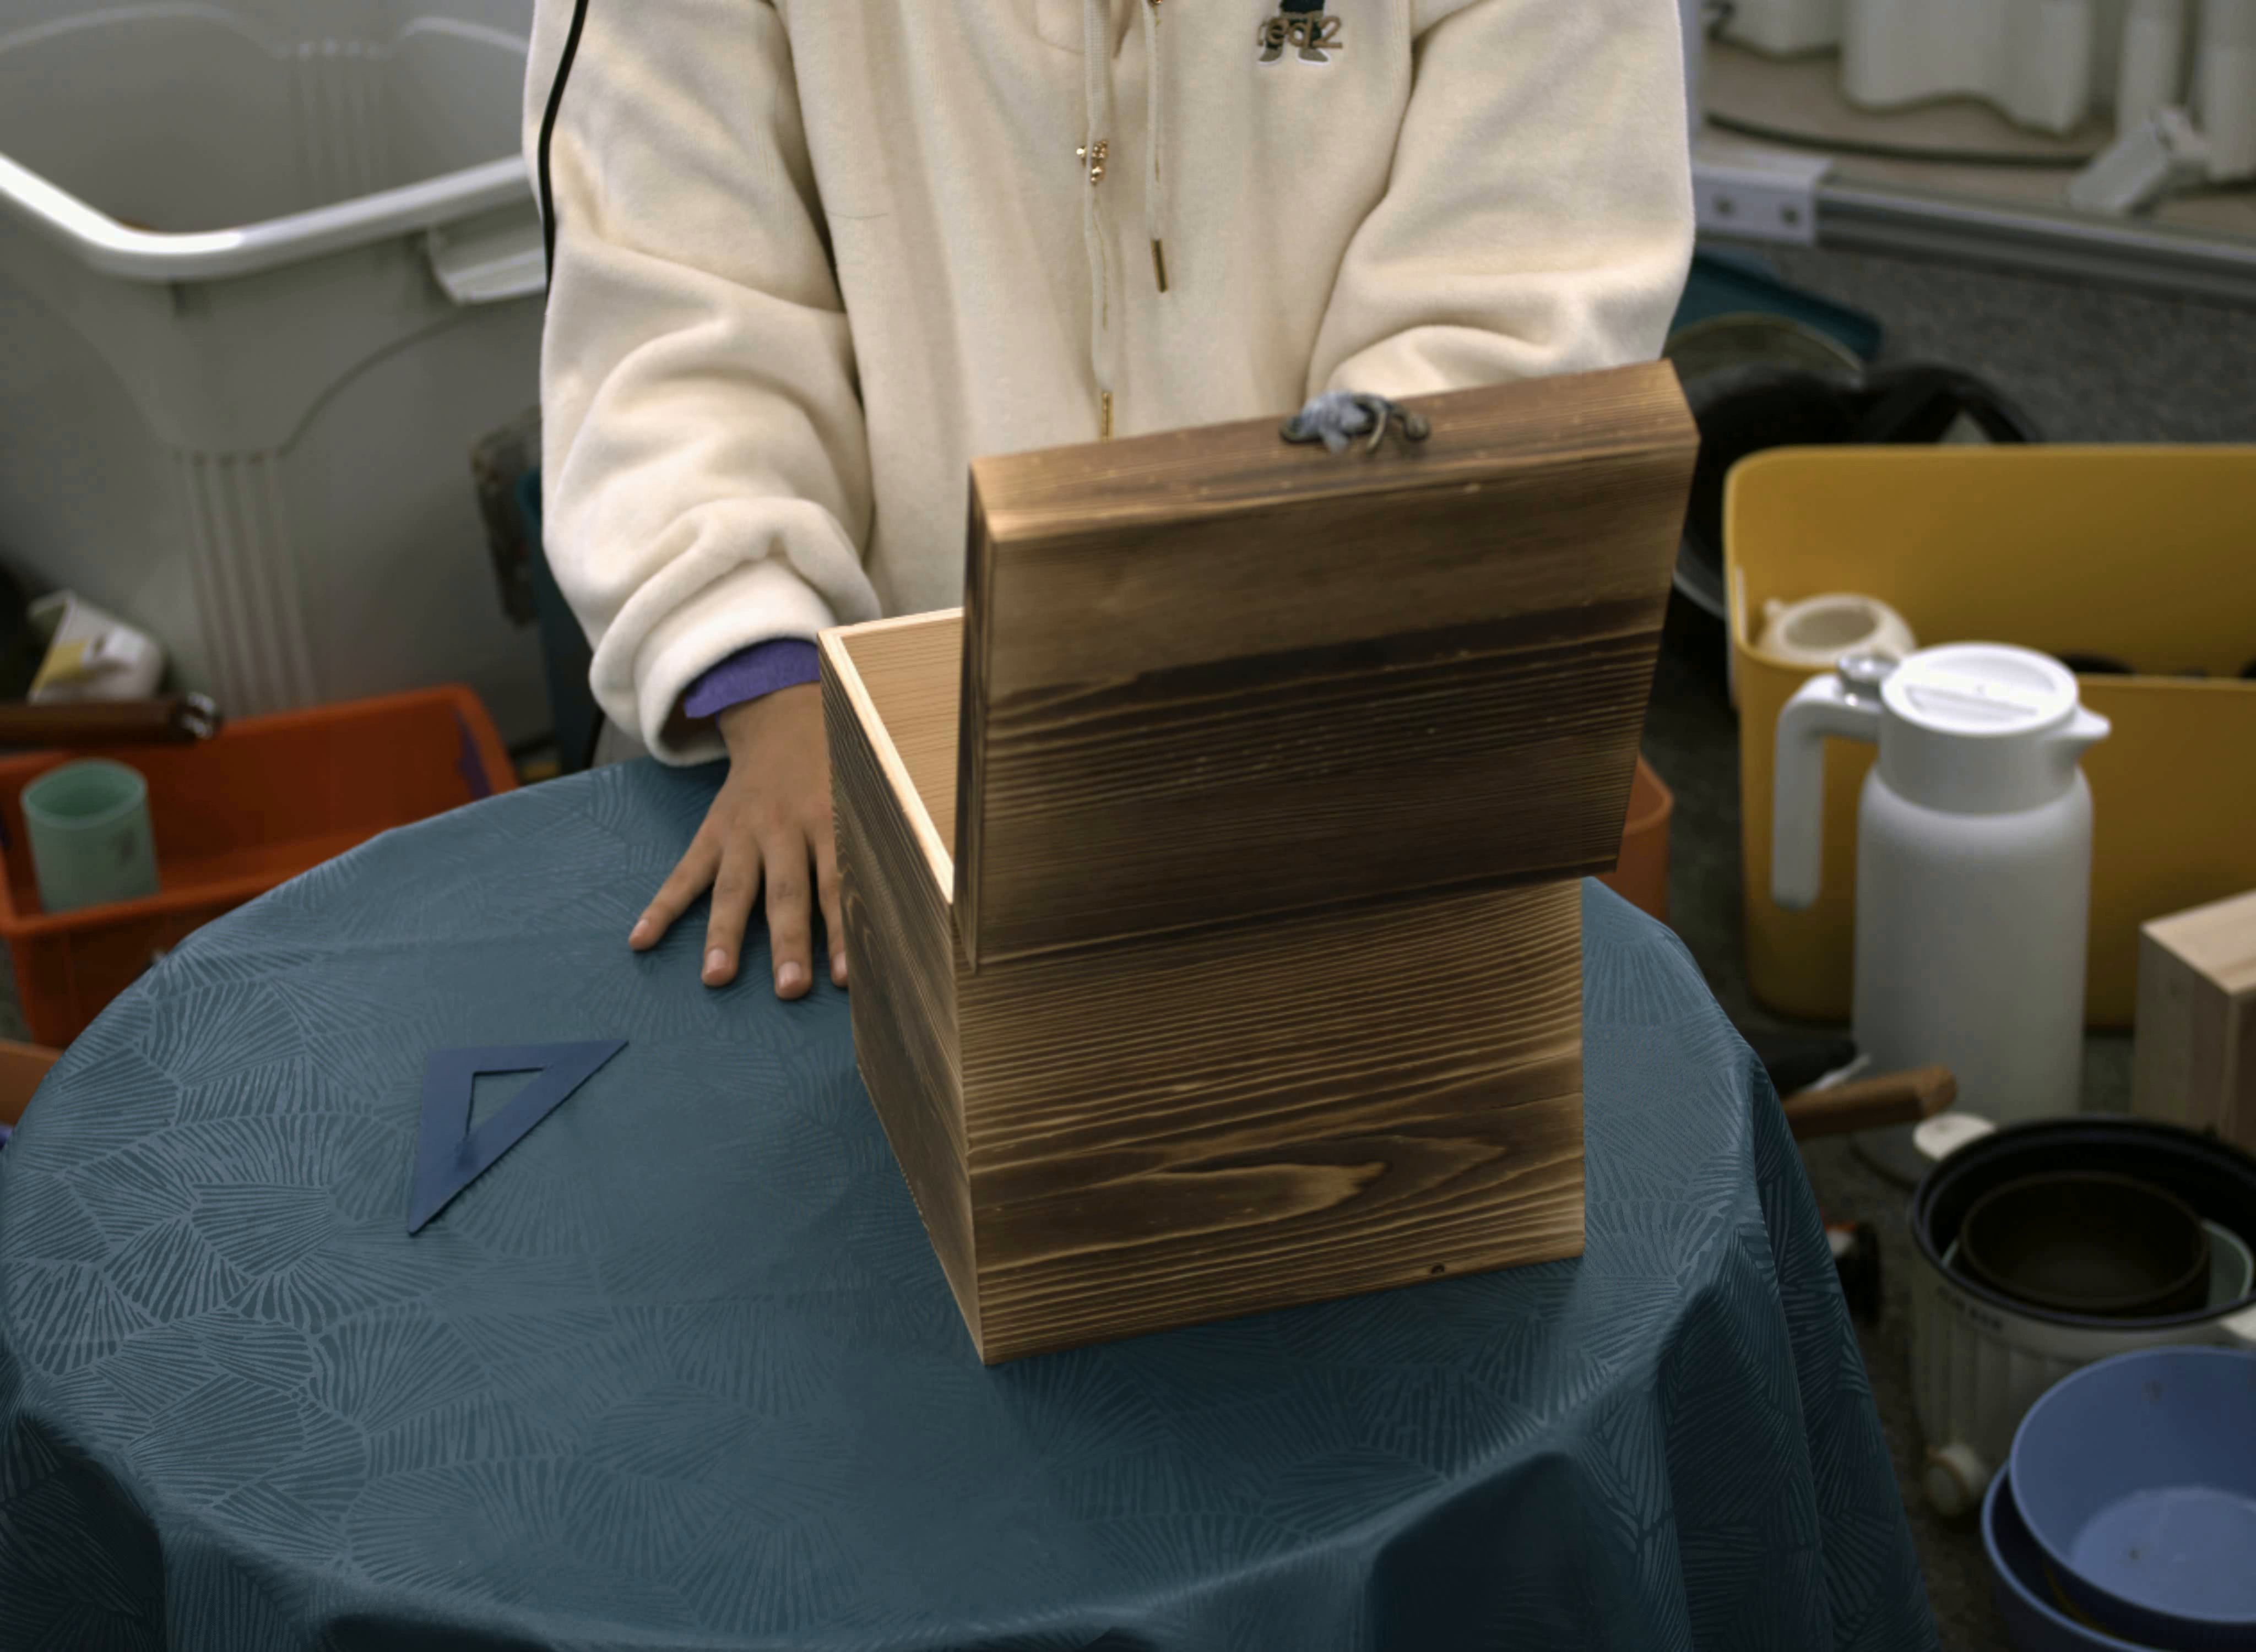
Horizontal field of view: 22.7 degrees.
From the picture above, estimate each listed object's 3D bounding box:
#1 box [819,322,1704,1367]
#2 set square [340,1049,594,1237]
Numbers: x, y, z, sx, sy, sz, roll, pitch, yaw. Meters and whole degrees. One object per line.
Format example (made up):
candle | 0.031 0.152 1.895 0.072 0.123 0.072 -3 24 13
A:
box | 0.032 -0.024 1.756 0.209 0.371 0.325 -8 28 -12
set square | -0.242 0.103 1.917 0.061 0.006 0.134 15 32 27
